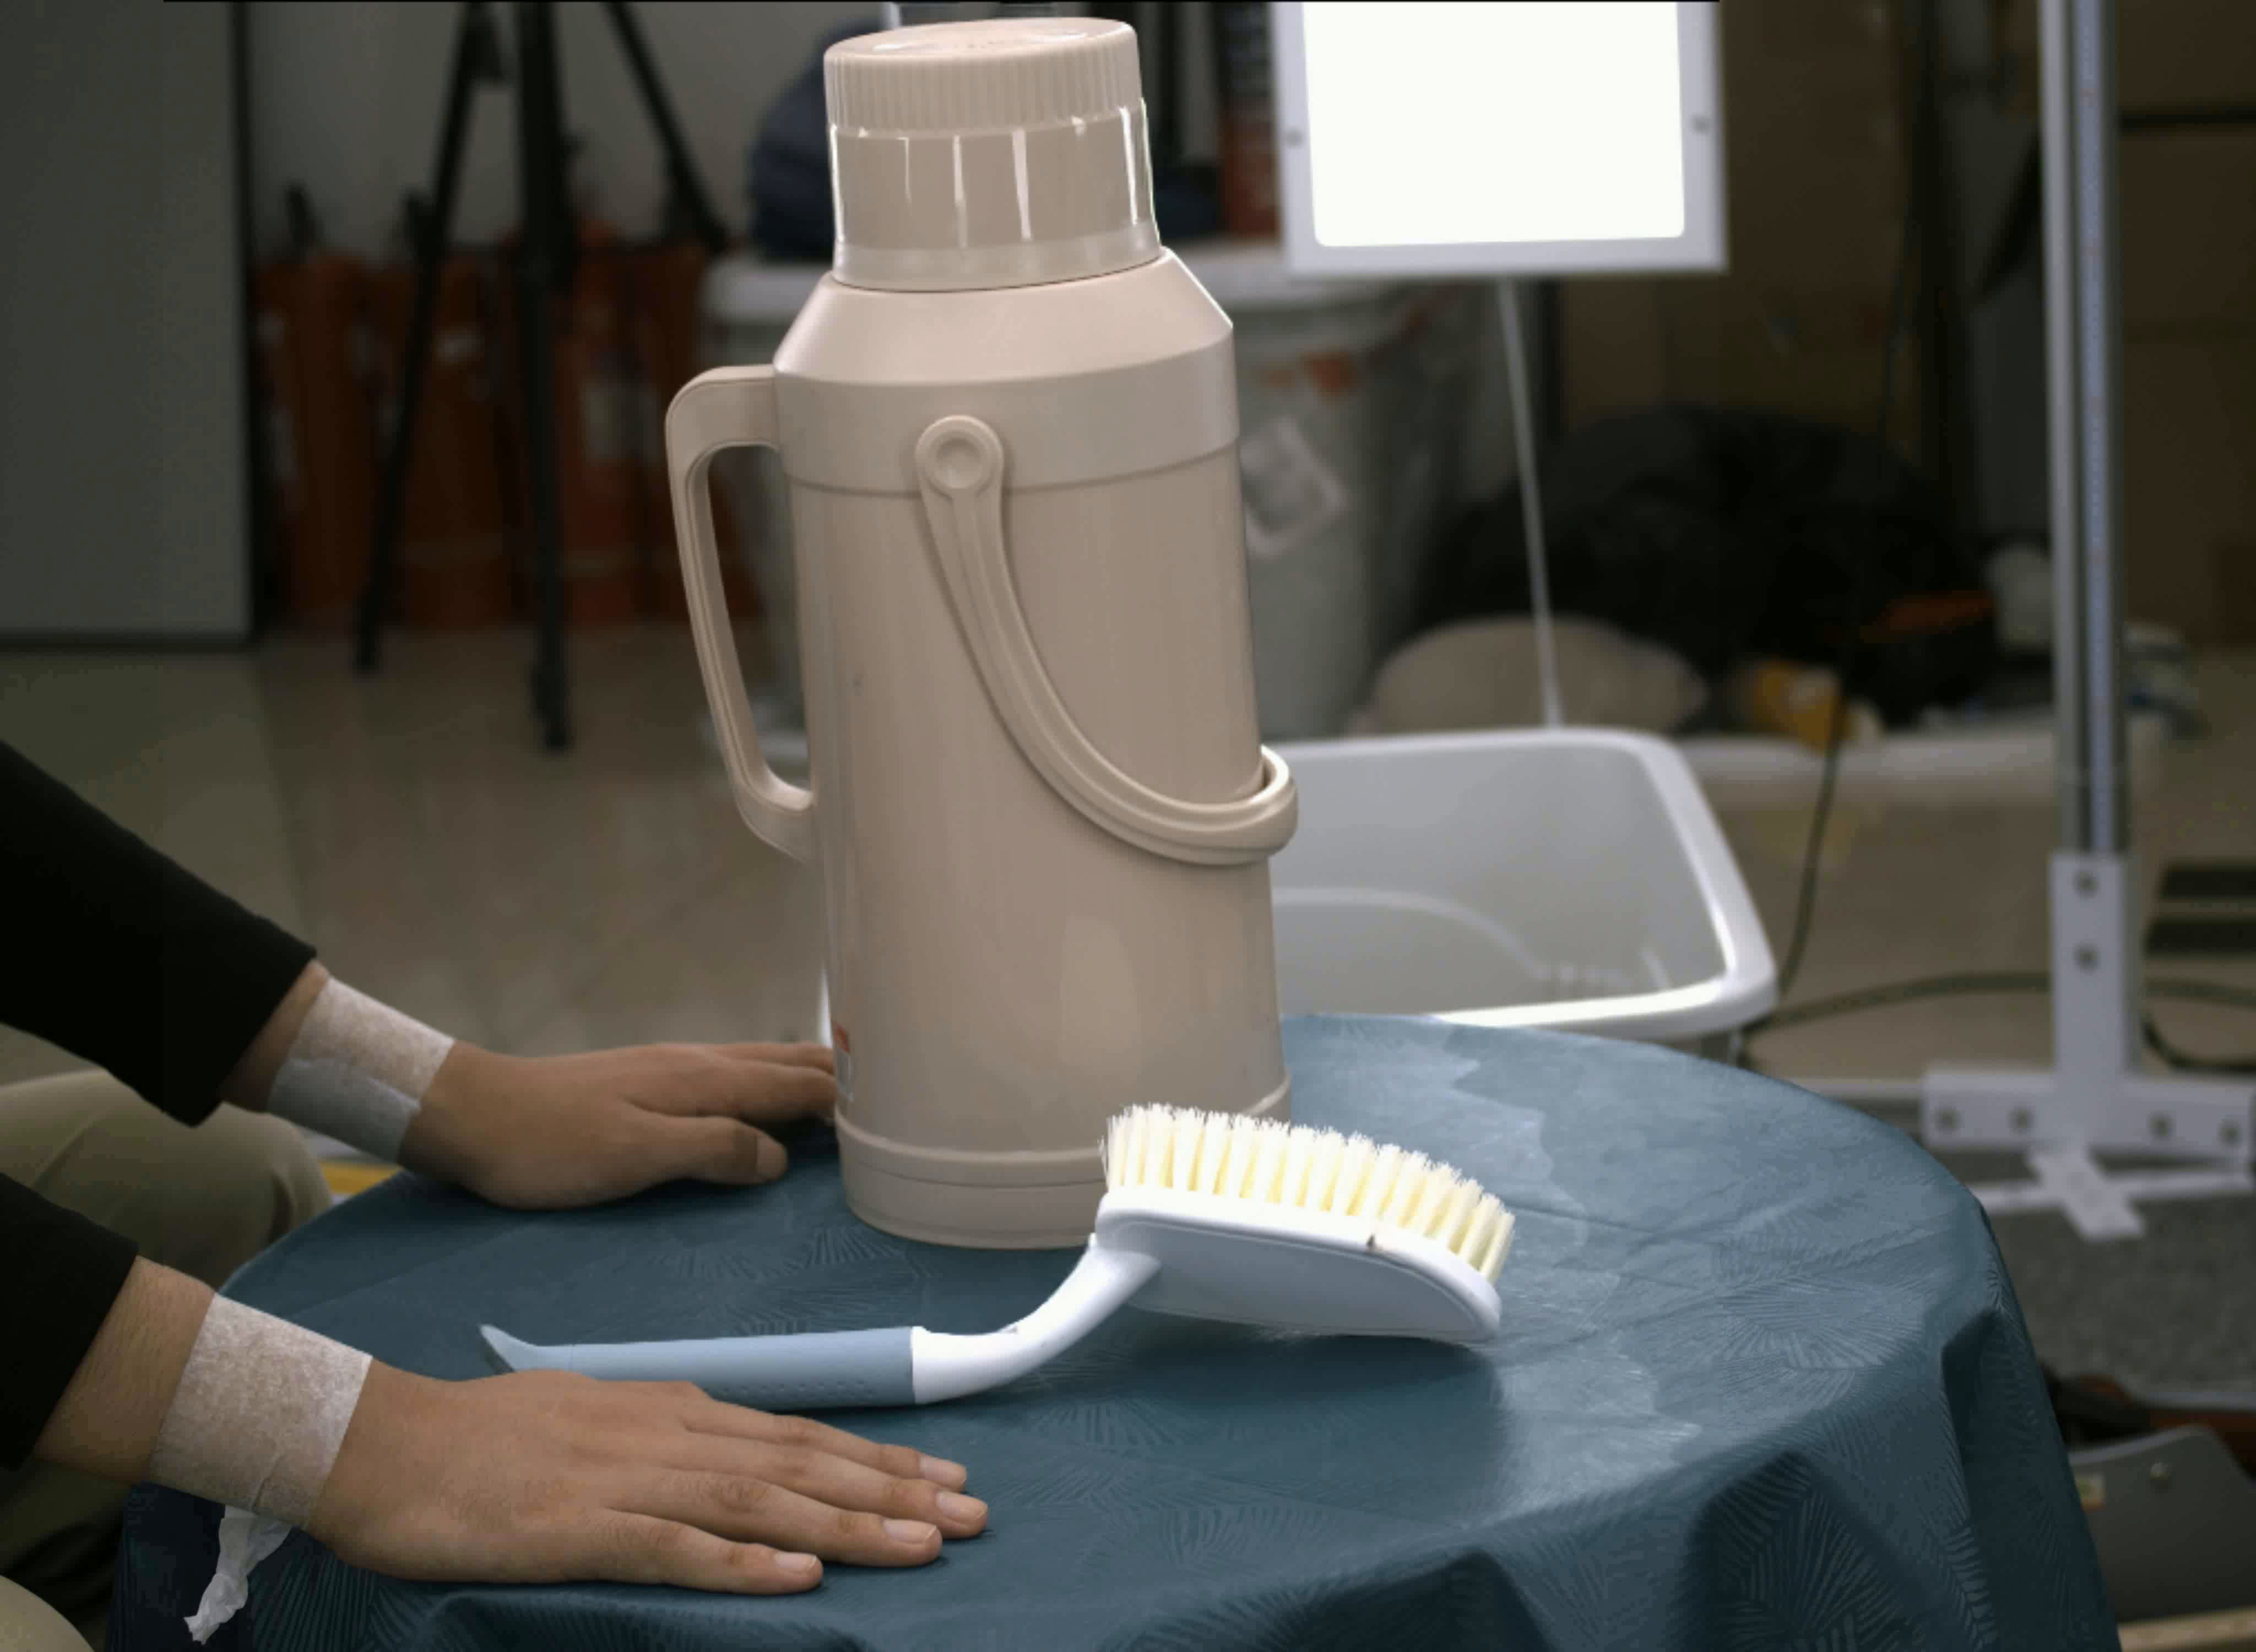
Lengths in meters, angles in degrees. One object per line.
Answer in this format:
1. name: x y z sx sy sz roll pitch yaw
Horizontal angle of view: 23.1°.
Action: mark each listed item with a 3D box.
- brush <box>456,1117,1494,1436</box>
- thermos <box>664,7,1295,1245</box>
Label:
1. brush: -0.048 0.133 1.722 0.325 0.083 0.084 -3 18 3
2. thermos: -0.049 -0.069 1.879 0.208 0.408 0.173 -1 16 11
